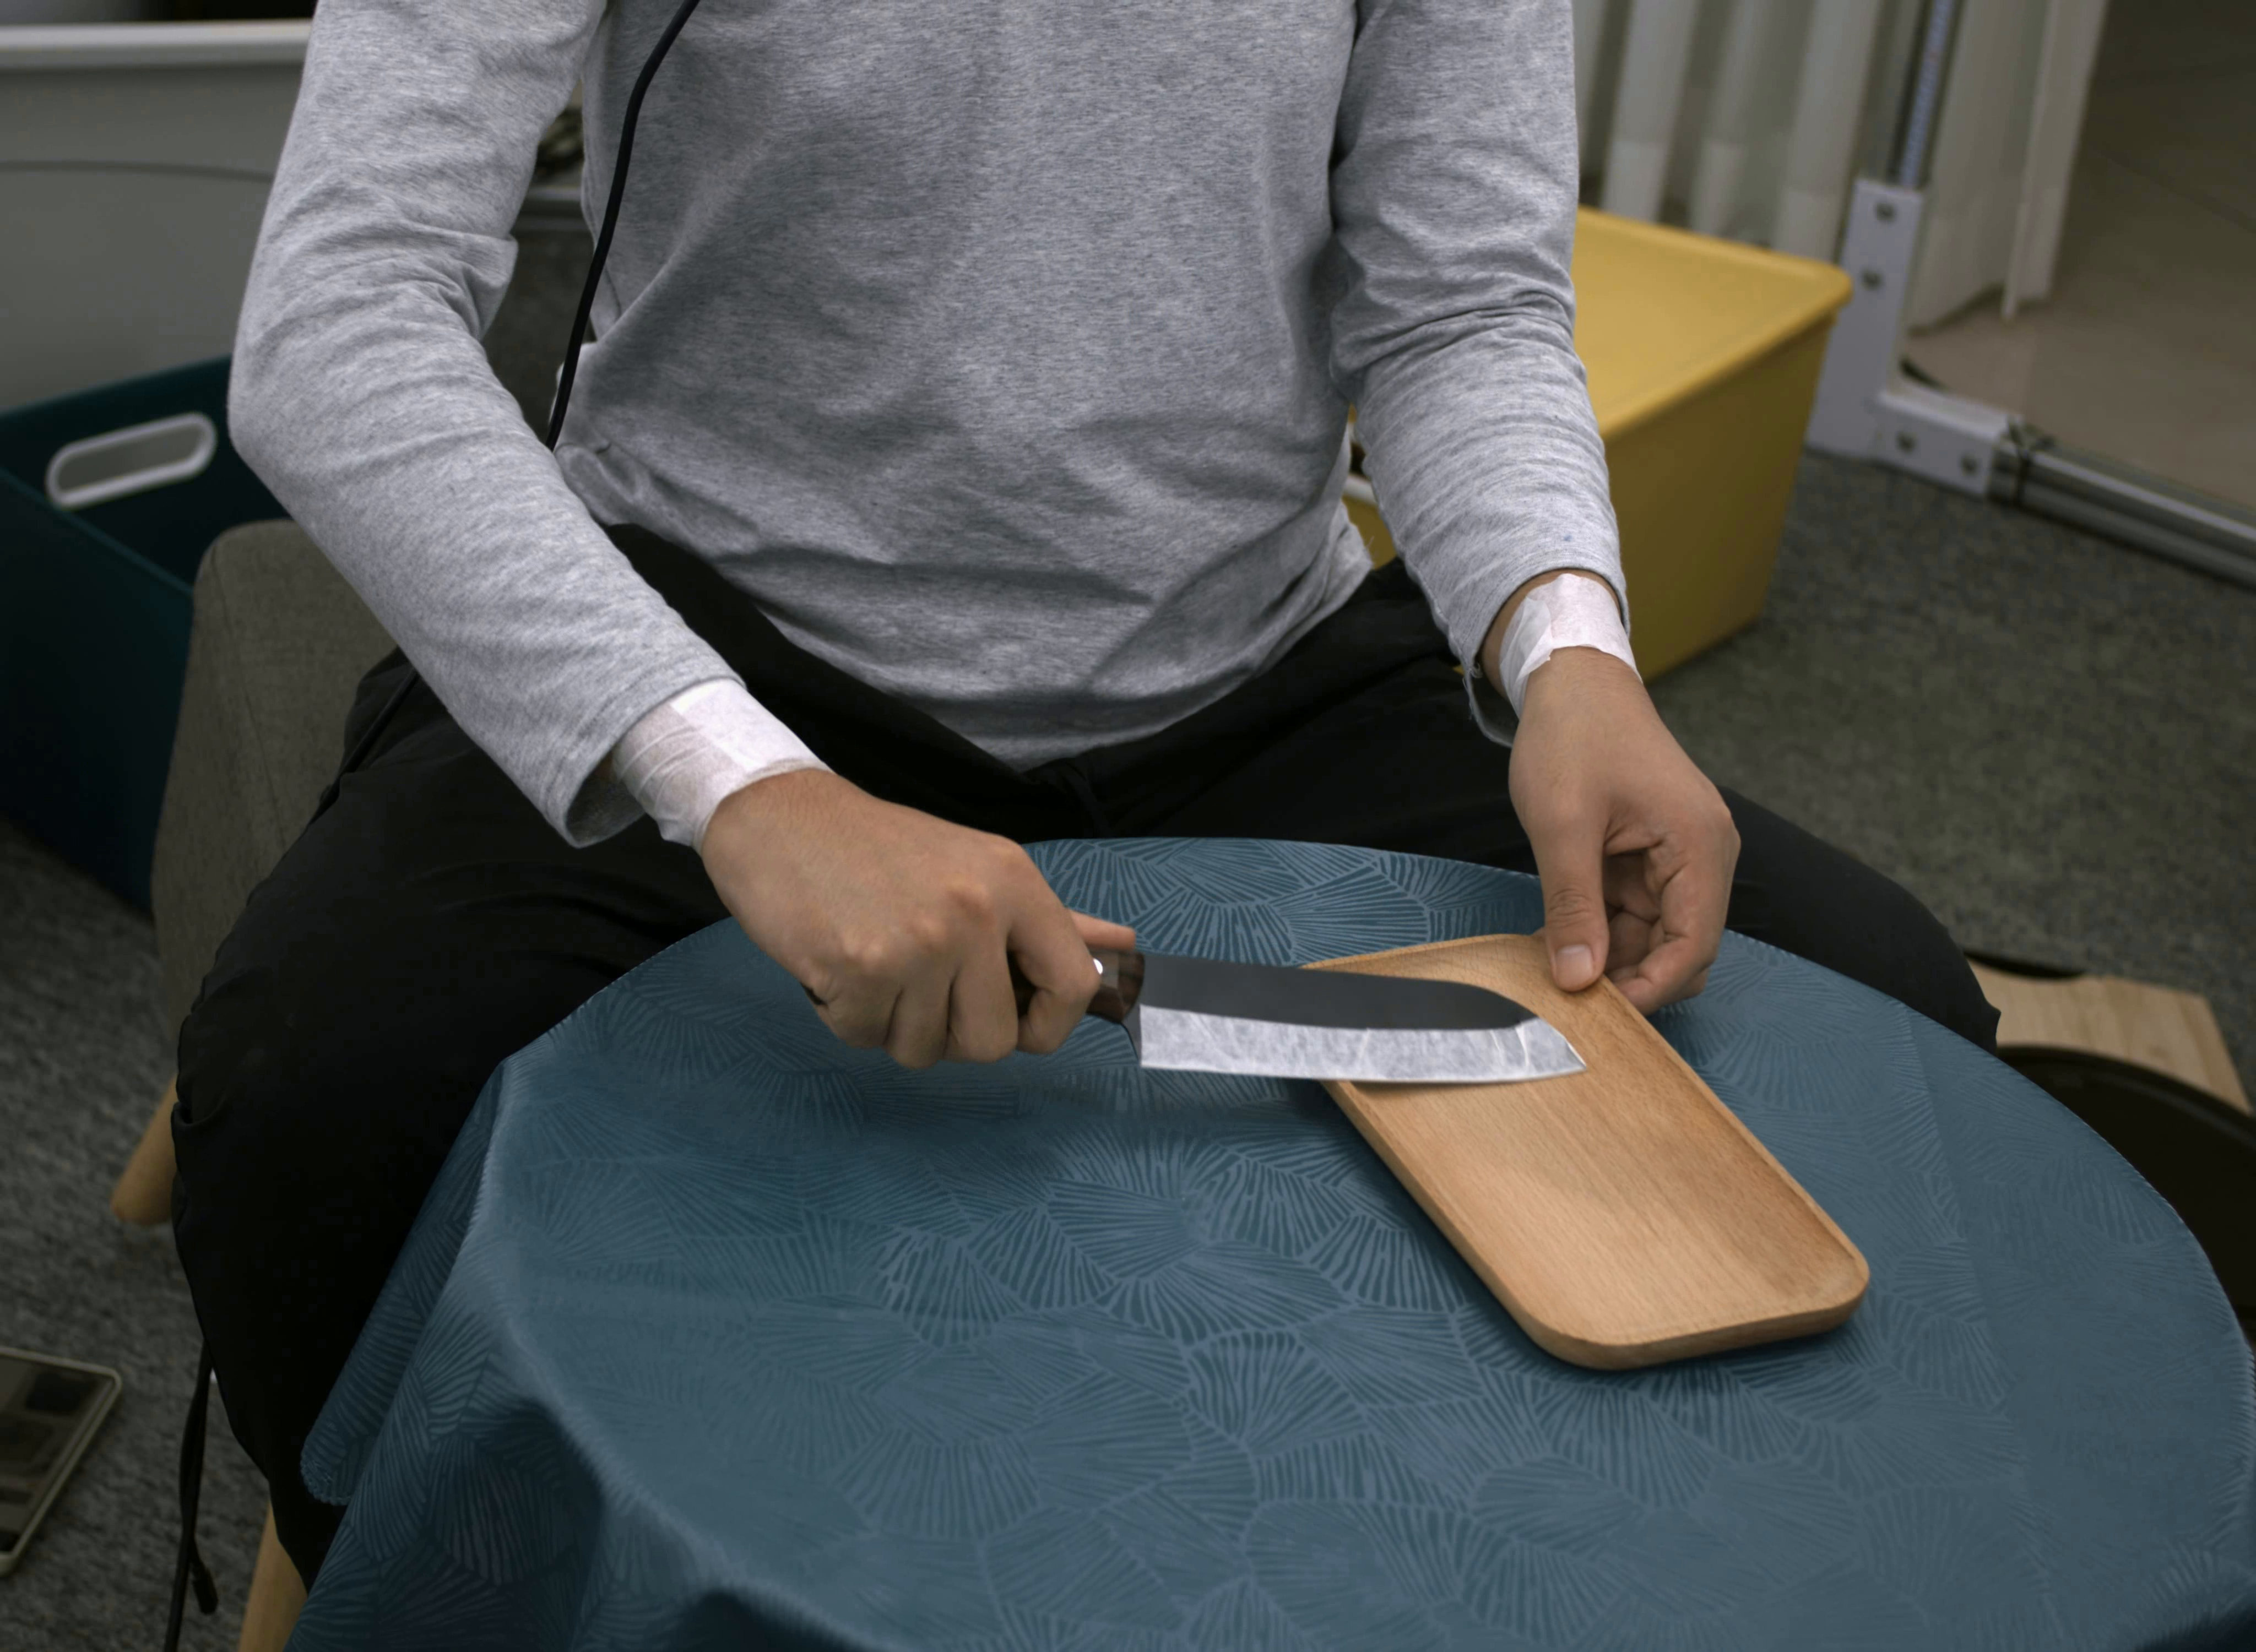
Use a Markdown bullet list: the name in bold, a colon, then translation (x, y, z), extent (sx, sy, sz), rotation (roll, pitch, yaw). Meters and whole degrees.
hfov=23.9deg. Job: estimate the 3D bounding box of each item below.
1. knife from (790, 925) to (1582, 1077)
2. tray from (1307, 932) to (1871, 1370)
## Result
- **knife**: translation (0.023, 0.062, 1.853), extent (0.287, 0.020, 0.050), rotation (7, 60, -14)
- **tray**: translation (0.150, 0.109, 1.840), extent (0.130, 0.023, 0.253), rotation (-5, 30, -22)
